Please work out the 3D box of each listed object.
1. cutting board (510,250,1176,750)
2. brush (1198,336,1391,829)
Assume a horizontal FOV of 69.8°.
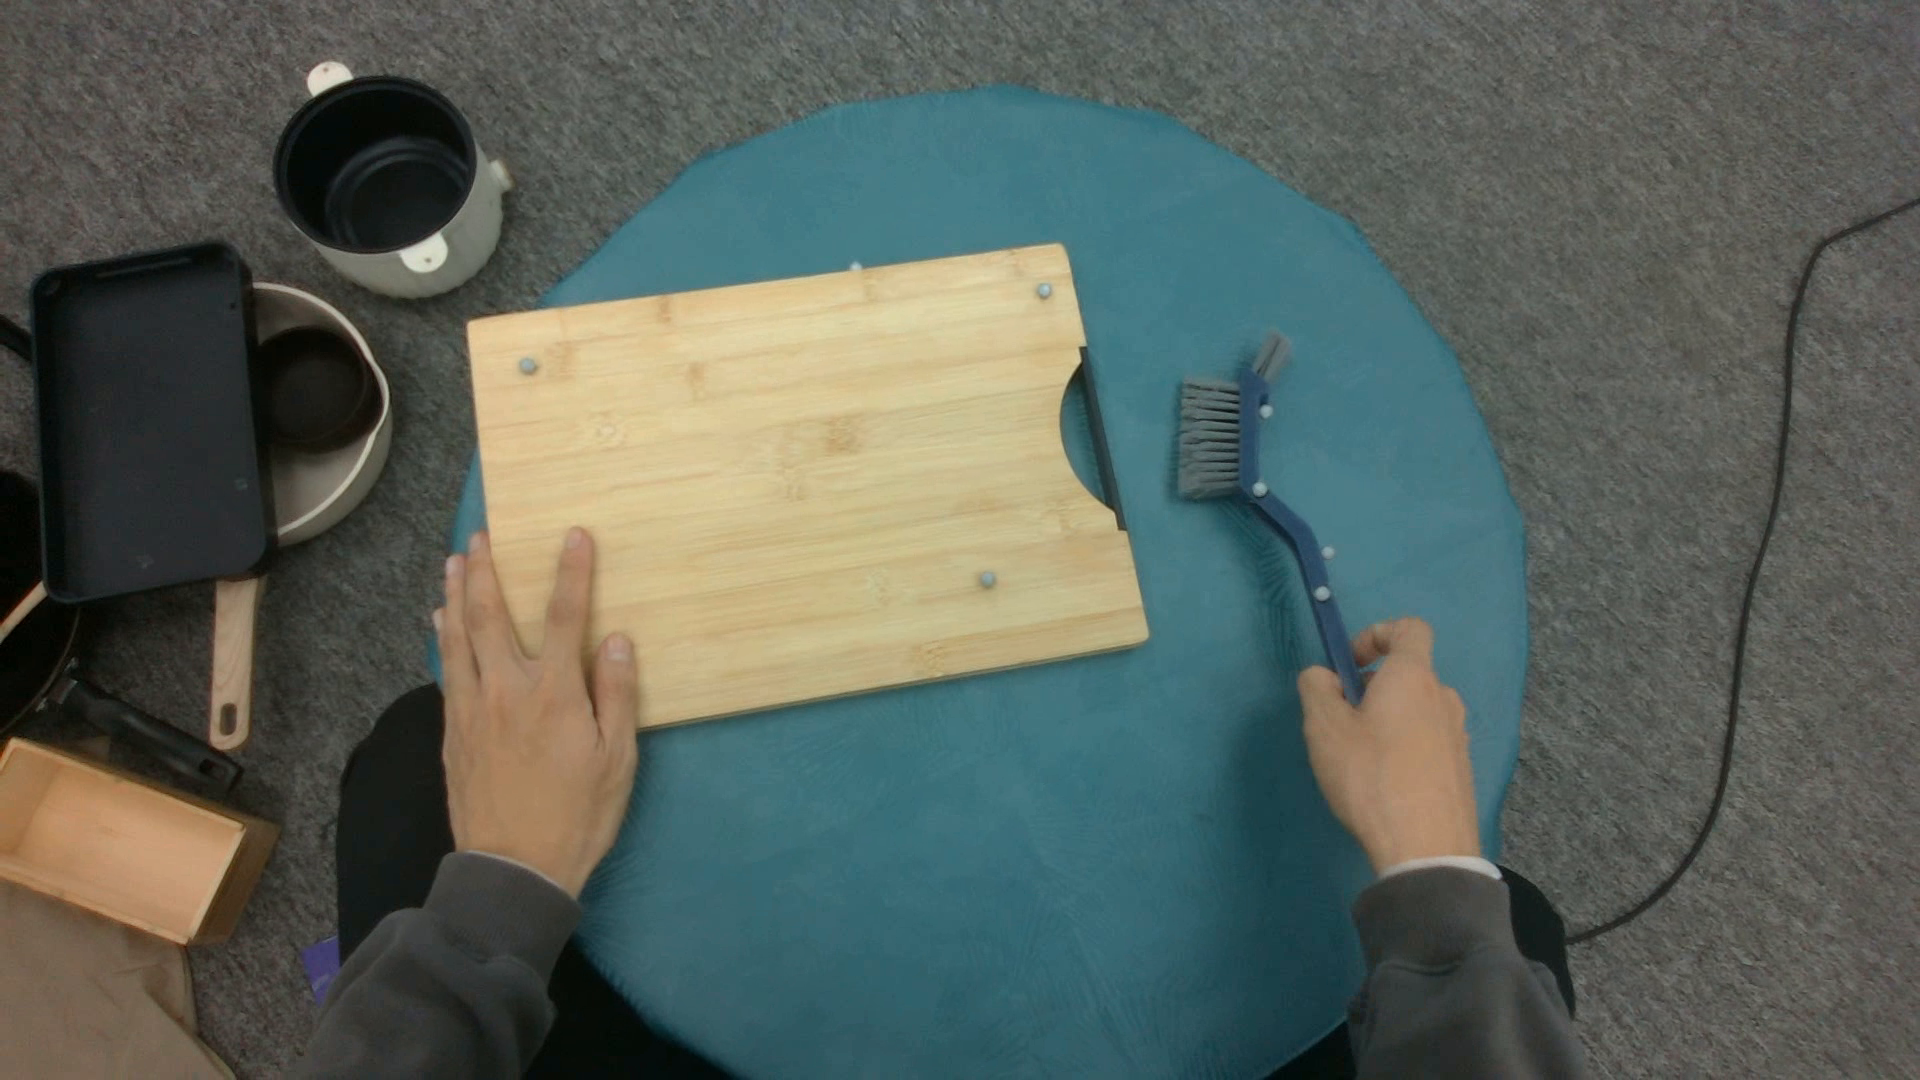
[{"bbox_3d":[-0.072,-0.029,0.777,0.349,0.023,0.251,-10,76,-6],"label":"cutting board"},{"bbox_3d":[0.202,0.017,0.750,0.095,0.033,0.274,-23,66,7],"label":"brush"}]
